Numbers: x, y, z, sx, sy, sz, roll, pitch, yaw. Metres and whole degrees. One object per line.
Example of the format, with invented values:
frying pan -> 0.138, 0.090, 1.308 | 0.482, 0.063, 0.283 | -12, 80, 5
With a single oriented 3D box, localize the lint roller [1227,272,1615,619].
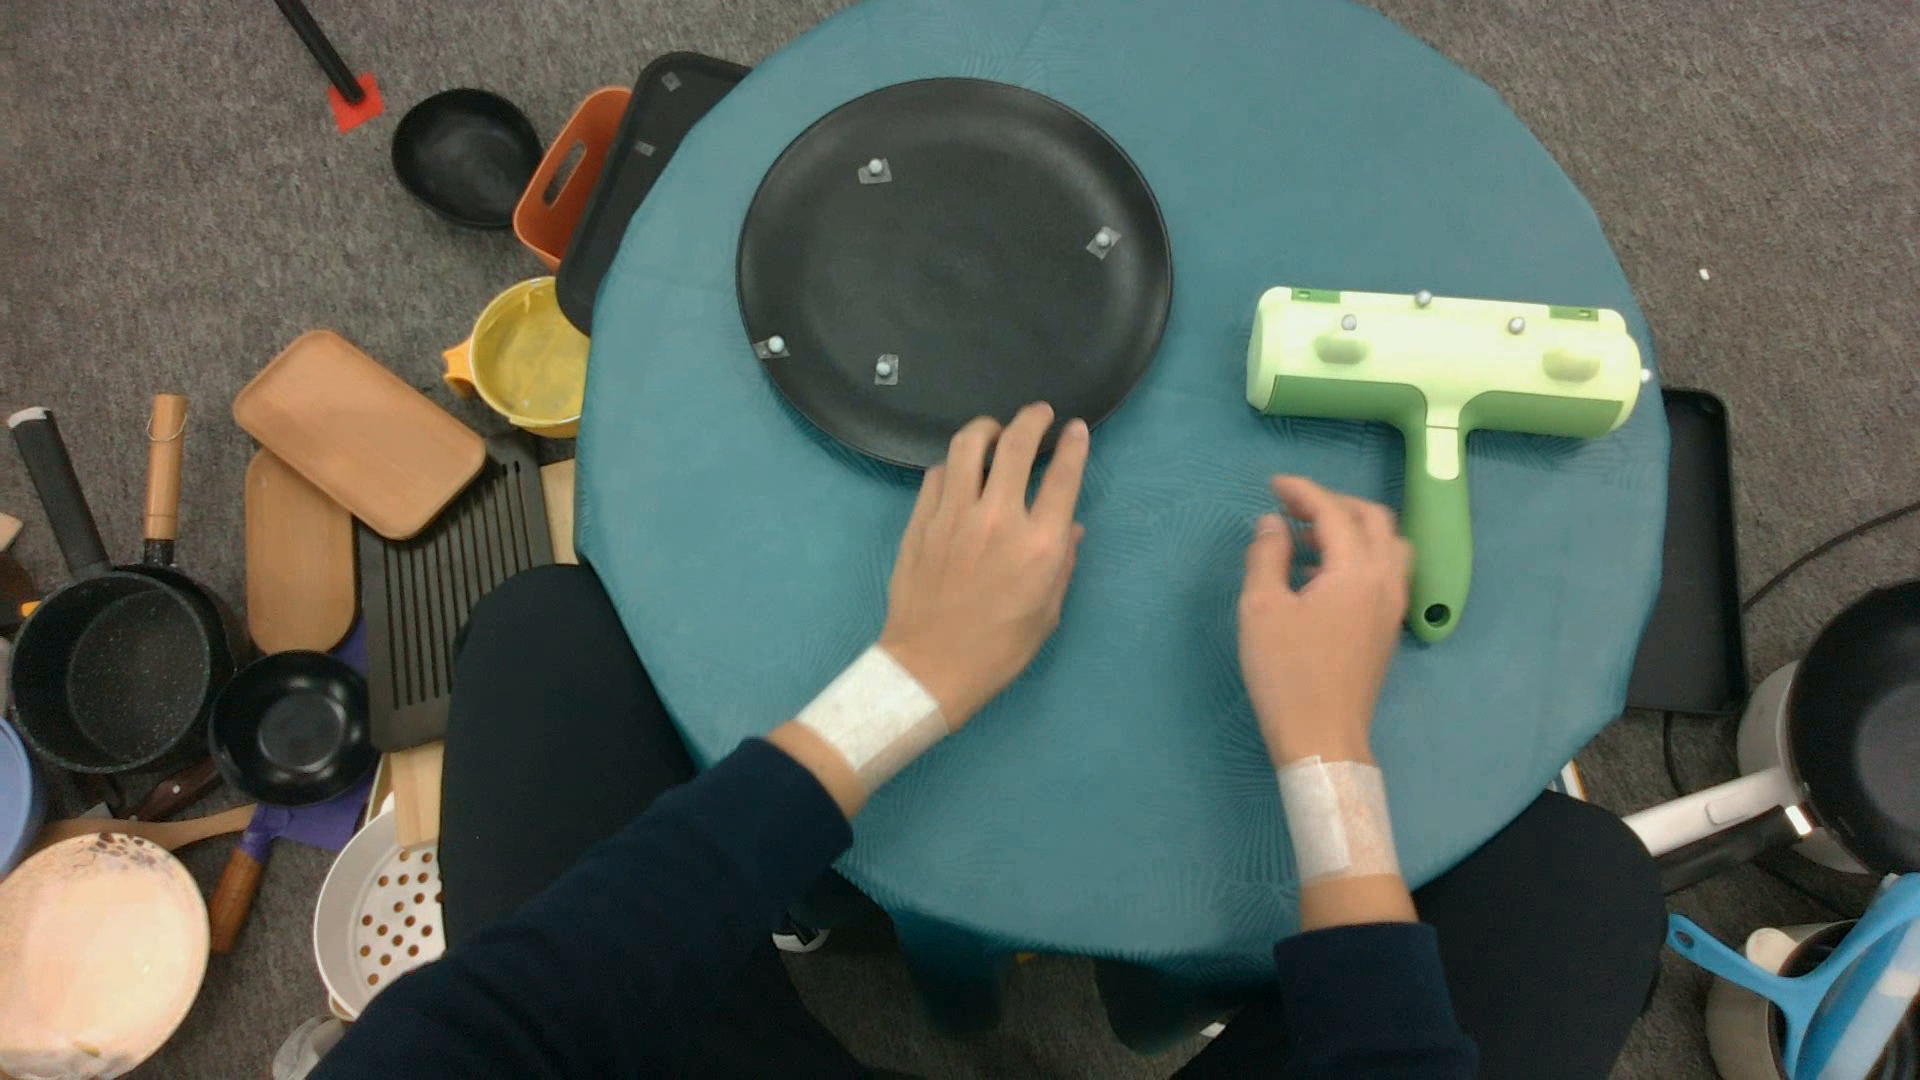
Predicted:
lint roller -> 0.242, -0.056, 0.711 | 0.198, 0.082, 0.184 | 3, 67, 1

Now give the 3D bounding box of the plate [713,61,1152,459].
plate -> -0.015, -0.157, 0.770 | 0.244, 0.023, 0.245 | 0, 73, -1
